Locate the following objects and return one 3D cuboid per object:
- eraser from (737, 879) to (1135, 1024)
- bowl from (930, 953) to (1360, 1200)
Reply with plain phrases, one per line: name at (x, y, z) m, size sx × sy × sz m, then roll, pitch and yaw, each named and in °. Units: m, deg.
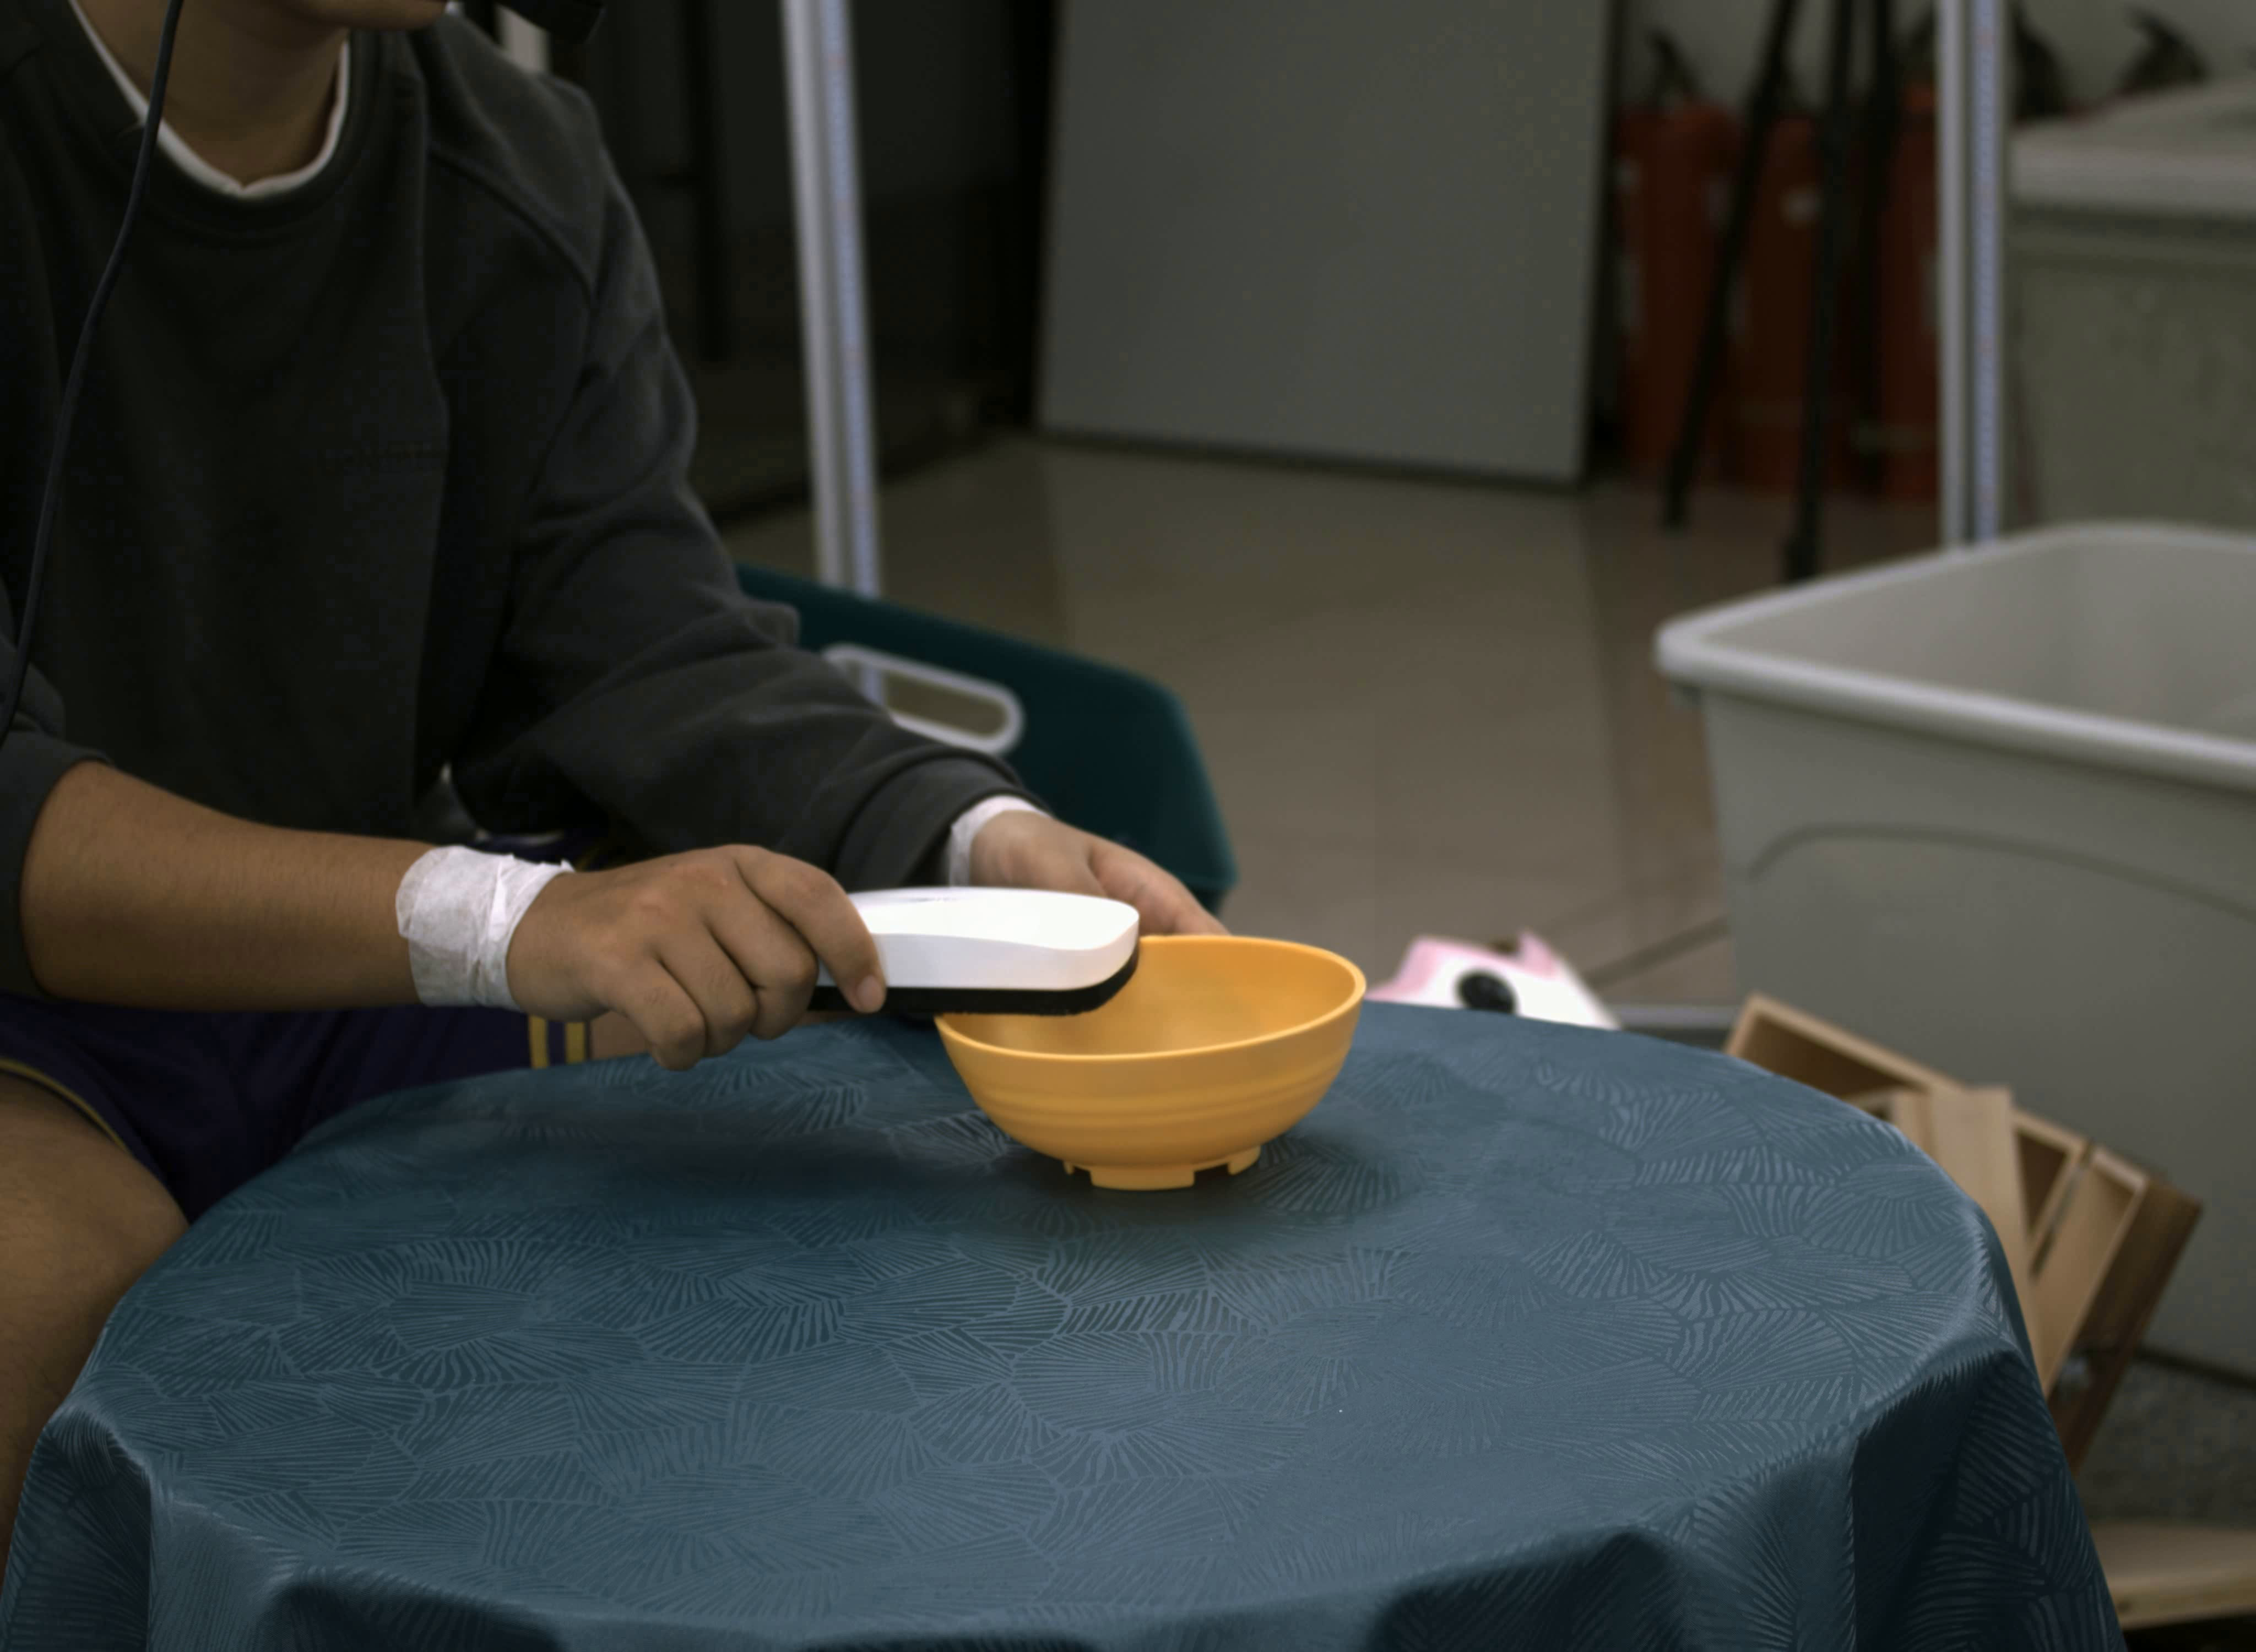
eraser at (-0.063, 0.042, 1.800) m, size 0.131 × 0.035 × 0.062 m, roll 2°, pitch 13°, yaw 22°
bowl at (0.008, 0.087, 1.789) m, size 0.143 × 0.061 × 0.145 m, roll -6°, pitch 11°, yaw 0°
